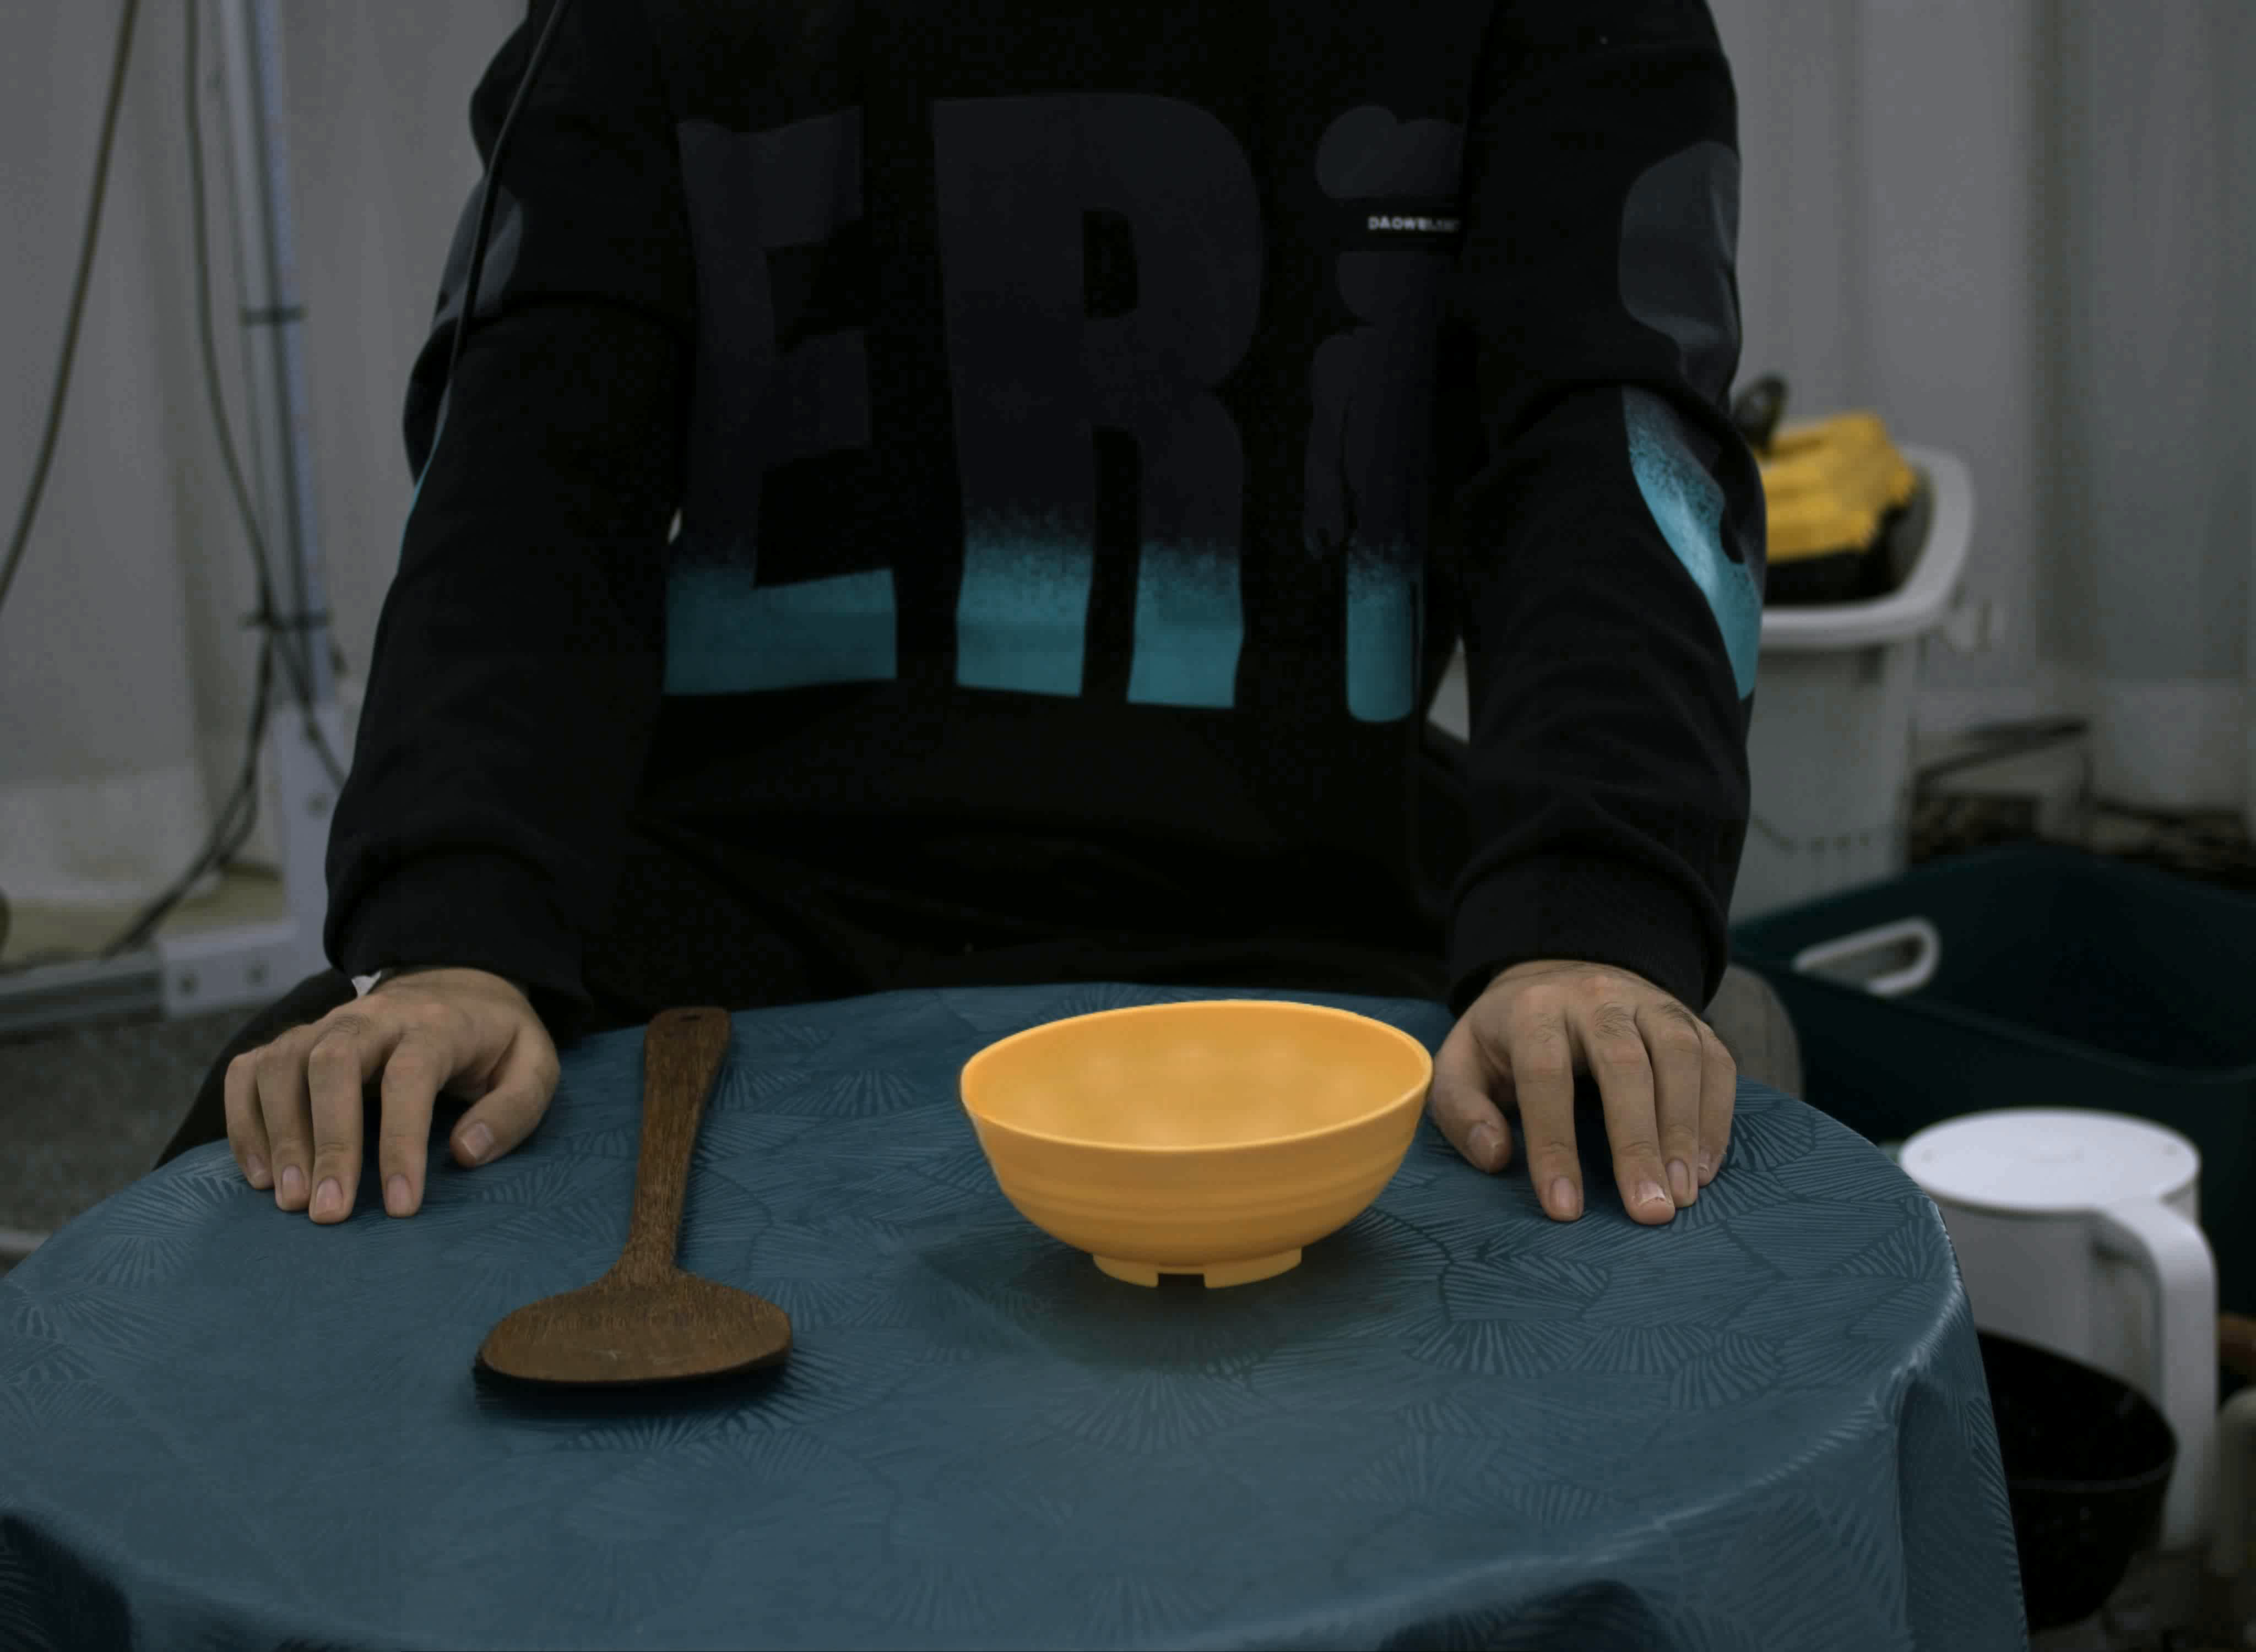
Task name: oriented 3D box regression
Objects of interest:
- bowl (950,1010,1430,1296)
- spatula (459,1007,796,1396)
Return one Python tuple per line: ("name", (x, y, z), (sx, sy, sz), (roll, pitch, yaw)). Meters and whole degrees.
("bowl", (0.018, 0.104, 1.648), (0.145, 0.060, 0.146), (0, 14, 0))
("spatula", (-0.148, 0.112, 1.726), (0.096, 0.016, 0.388), (-3, 15, -1))
